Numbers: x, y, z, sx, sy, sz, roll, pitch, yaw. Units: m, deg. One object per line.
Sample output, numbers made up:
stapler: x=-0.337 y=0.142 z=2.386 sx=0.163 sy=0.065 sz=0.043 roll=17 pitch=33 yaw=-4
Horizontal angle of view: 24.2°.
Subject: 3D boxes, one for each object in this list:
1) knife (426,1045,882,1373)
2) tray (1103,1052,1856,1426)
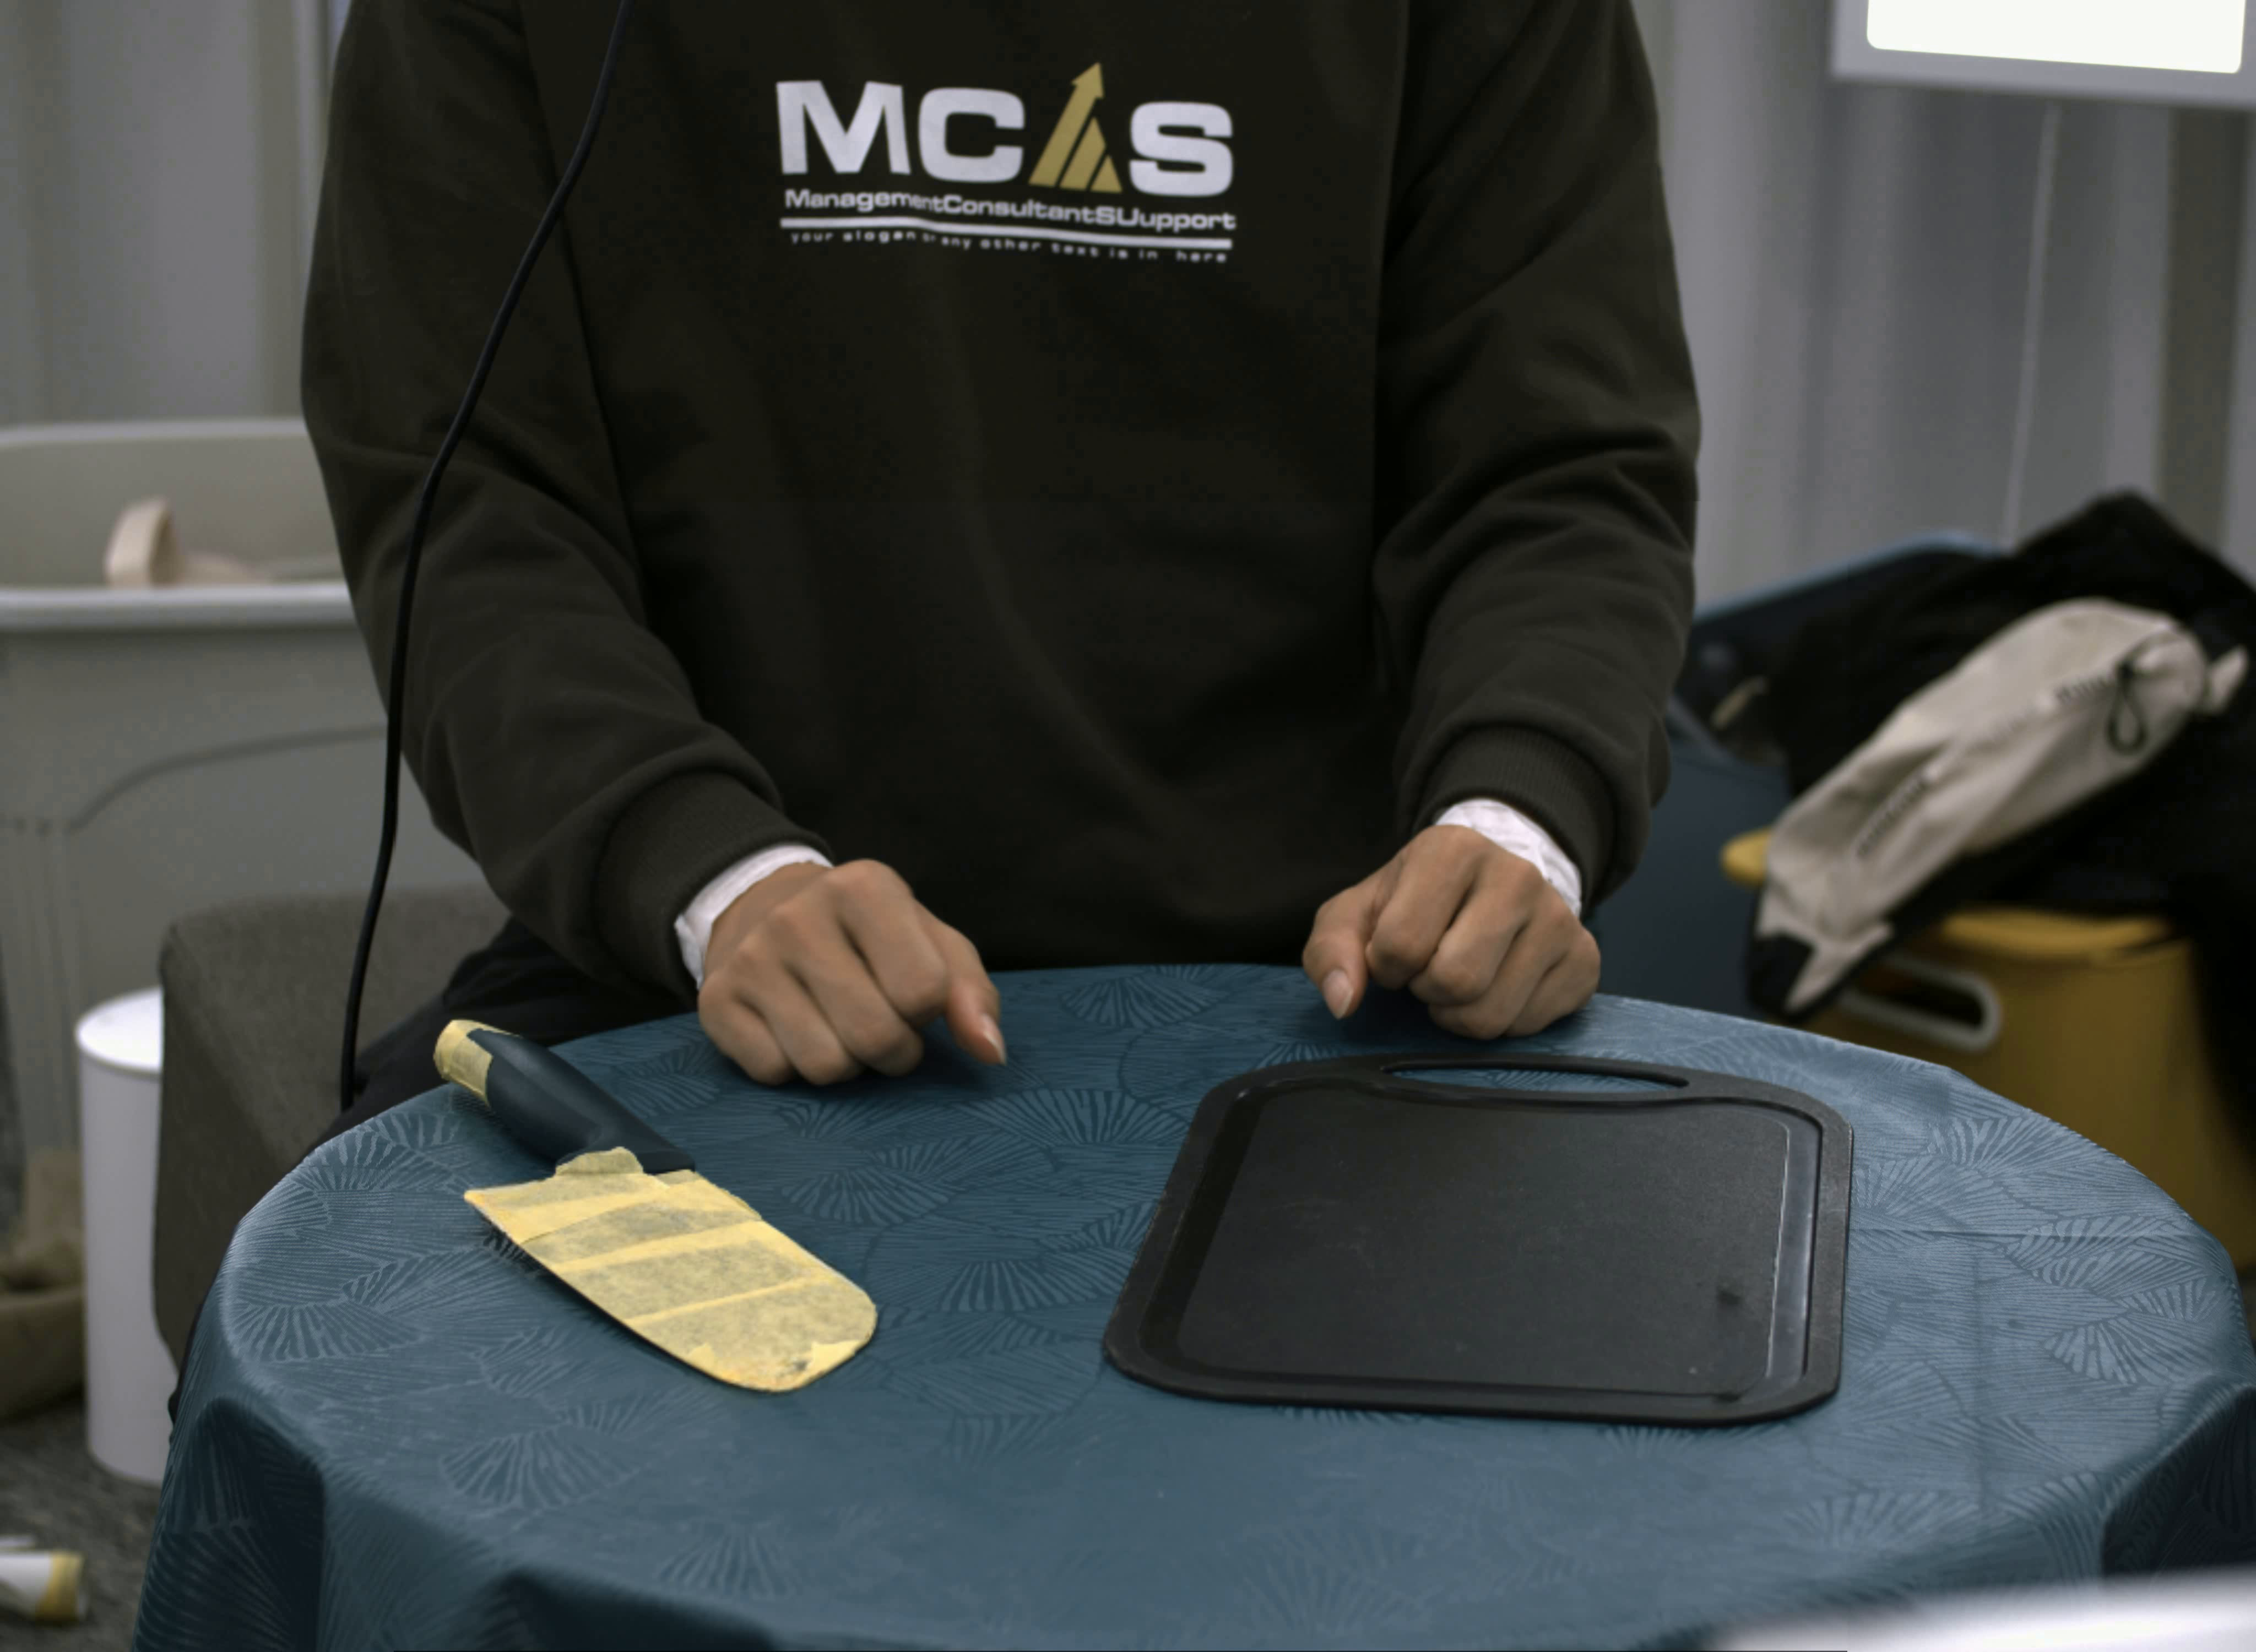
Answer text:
knife: x=-0.157 y=0.115 z=1.581 sx=0.081 sy=0.027 sz=0.286 roll=-6 pitch=17 yaw=-29
tray: x=0.113 y=0.117 z=1.599 sx=0.210 sy=0.010 sz=0.324 roll=3 pitch=15 yaw=8
